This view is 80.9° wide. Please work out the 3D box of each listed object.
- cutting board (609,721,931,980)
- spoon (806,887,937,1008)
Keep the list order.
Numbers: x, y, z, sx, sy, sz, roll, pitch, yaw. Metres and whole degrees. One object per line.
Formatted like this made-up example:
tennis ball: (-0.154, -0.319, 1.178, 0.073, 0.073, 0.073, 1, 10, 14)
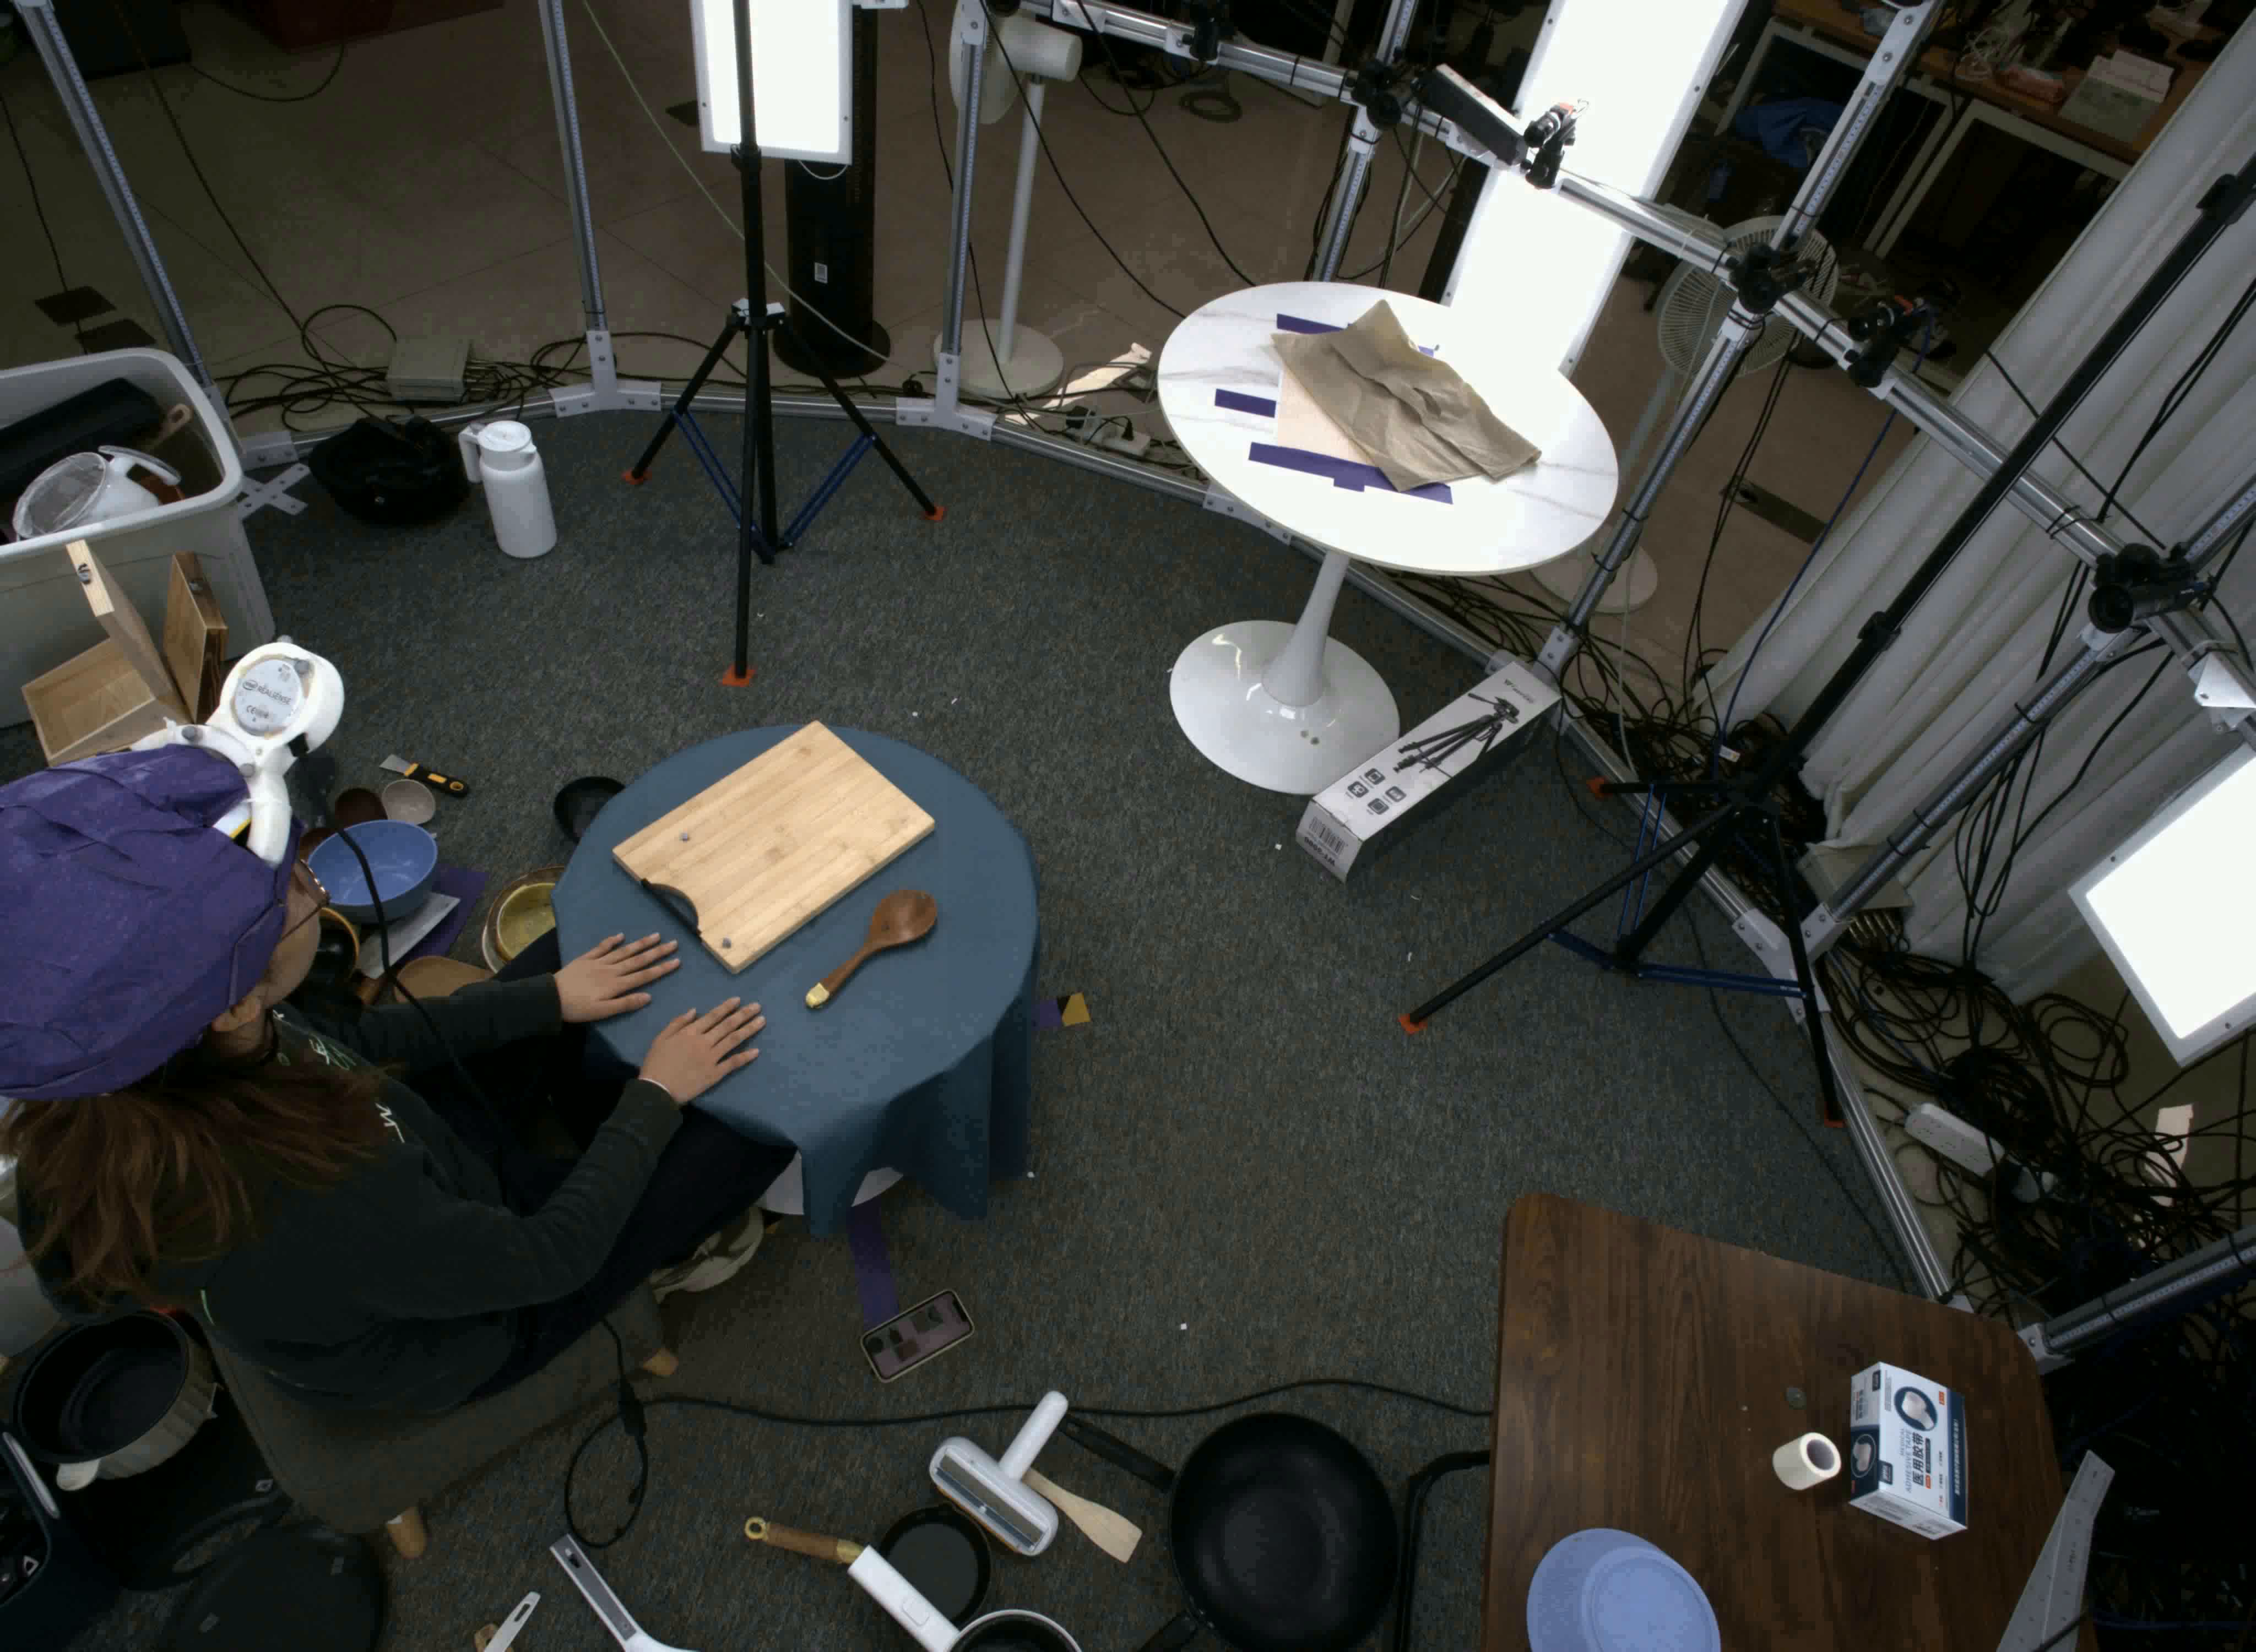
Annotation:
cutting board: (-0.463, 0.020, 1.694, 0.245, 0.024, 0.349, 38, 54, 15)
spoon: (-0.323, 0.151, 1.631, 0.074, 0.017, 0.215, 36, 53, 11)
